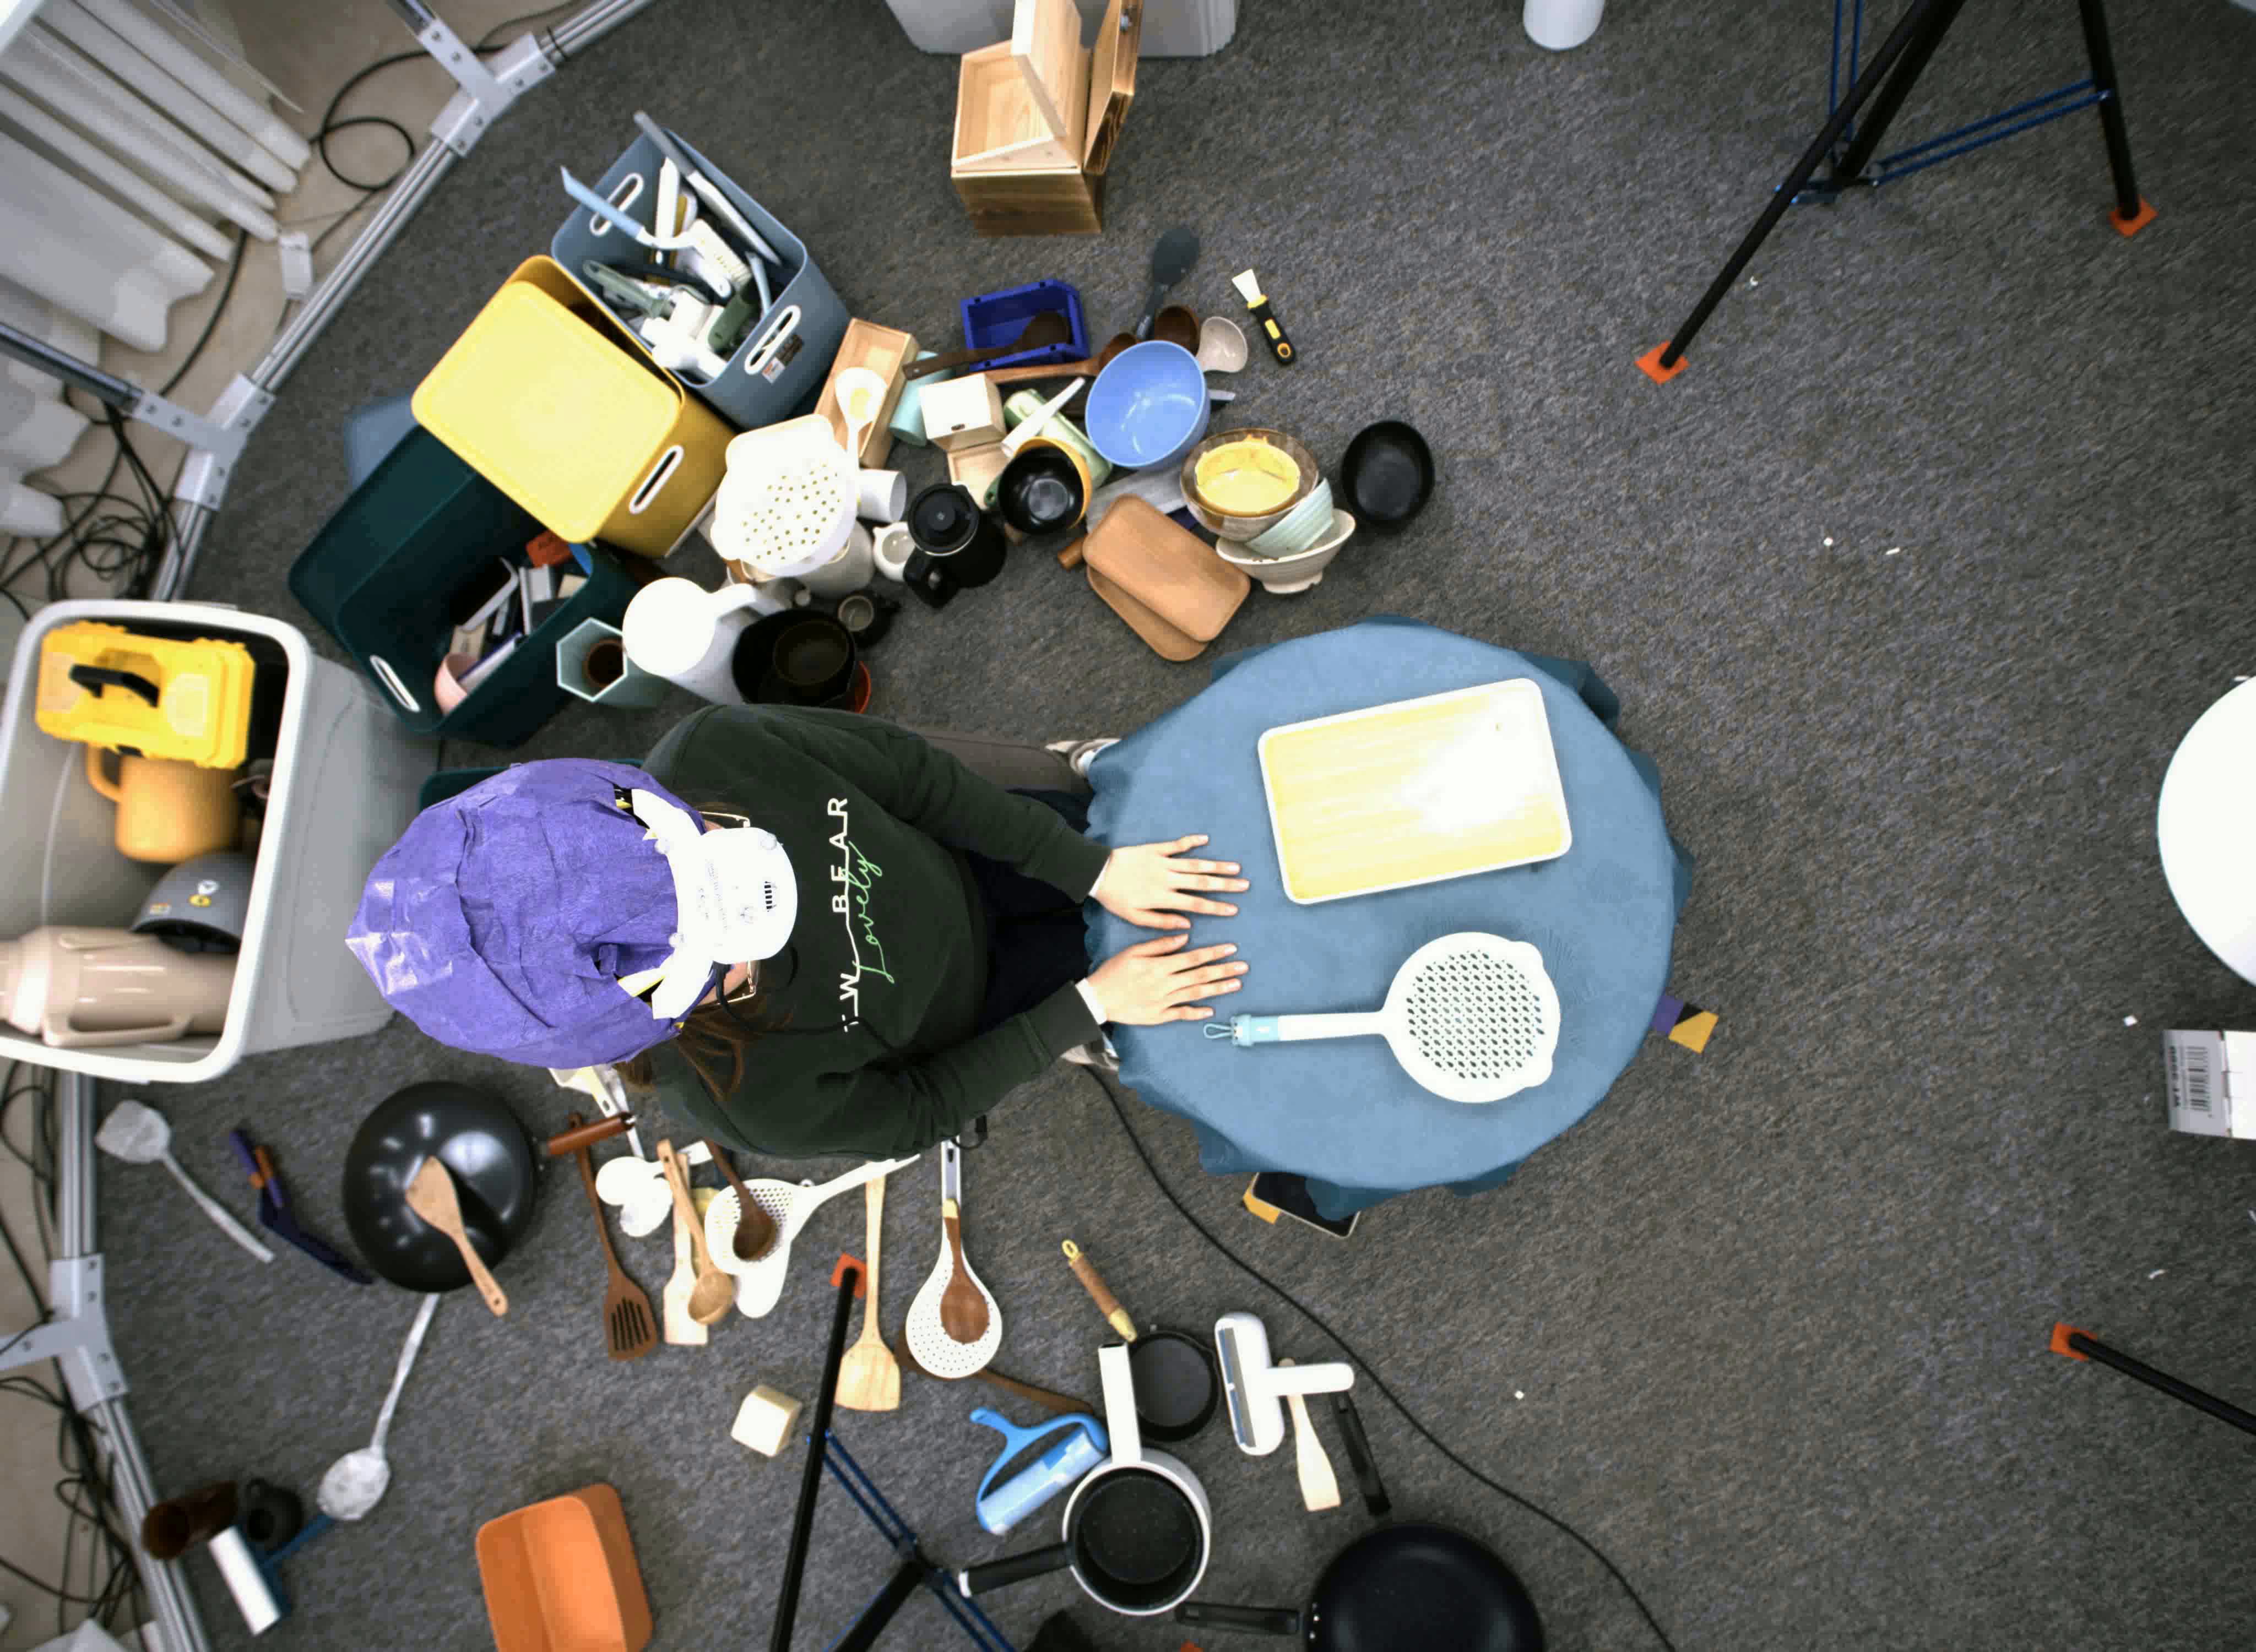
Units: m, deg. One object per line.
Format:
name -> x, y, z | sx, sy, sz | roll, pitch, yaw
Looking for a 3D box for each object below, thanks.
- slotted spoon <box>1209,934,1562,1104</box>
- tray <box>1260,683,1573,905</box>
slotted spoon -> 0.258, 0.202, 1.425 | 0.360, 0.075, 0.168 | -5, 84, 10
tray -> 0.302, -0.034, 1.453 | 0.302, 0.027, 0.190 | -11, 84, 9
